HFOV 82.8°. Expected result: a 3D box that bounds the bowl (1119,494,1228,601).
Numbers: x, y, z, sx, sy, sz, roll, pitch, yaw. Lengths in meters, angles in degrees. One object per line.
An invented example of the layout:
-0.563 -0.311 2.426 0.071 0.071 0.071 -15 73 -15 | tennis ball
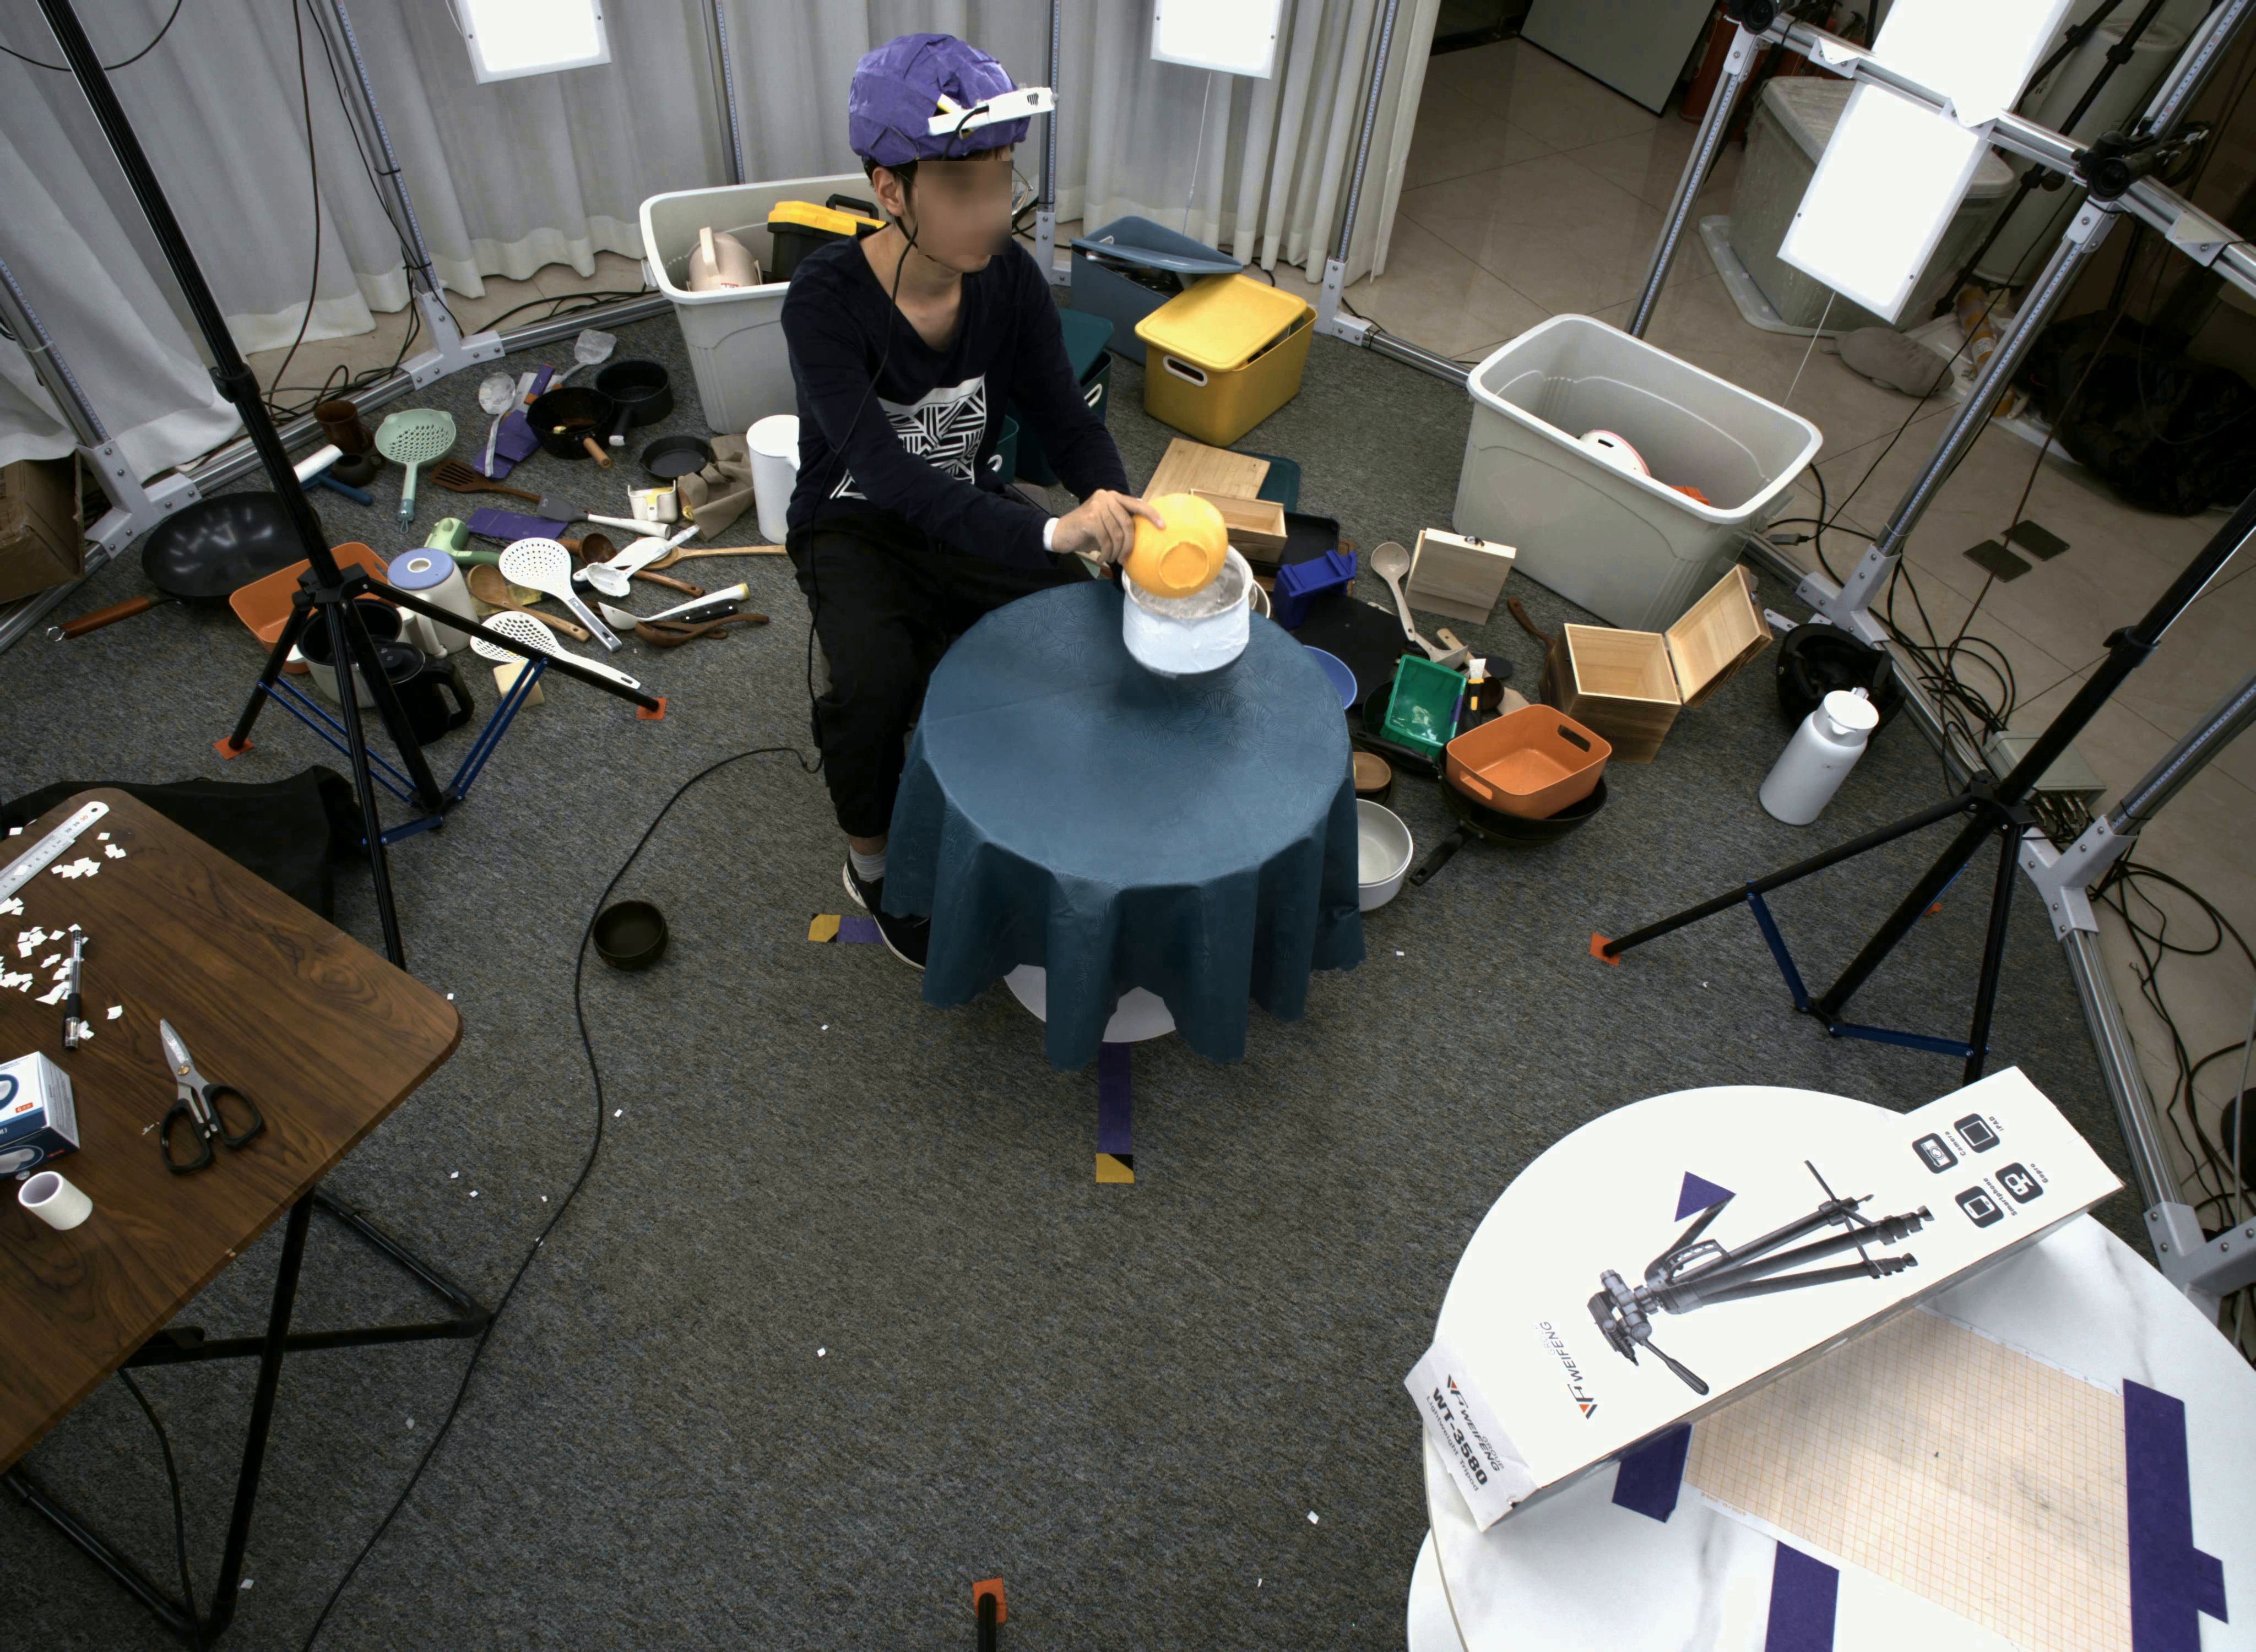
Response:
0.064 -0.343 1.640 0.145 0.142 0.061 -5 36 -9 | bowl

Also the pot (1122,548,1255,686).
0.069 -0.310 1.794 0.179 0.133 0.239 -18 50 -17 | pot
